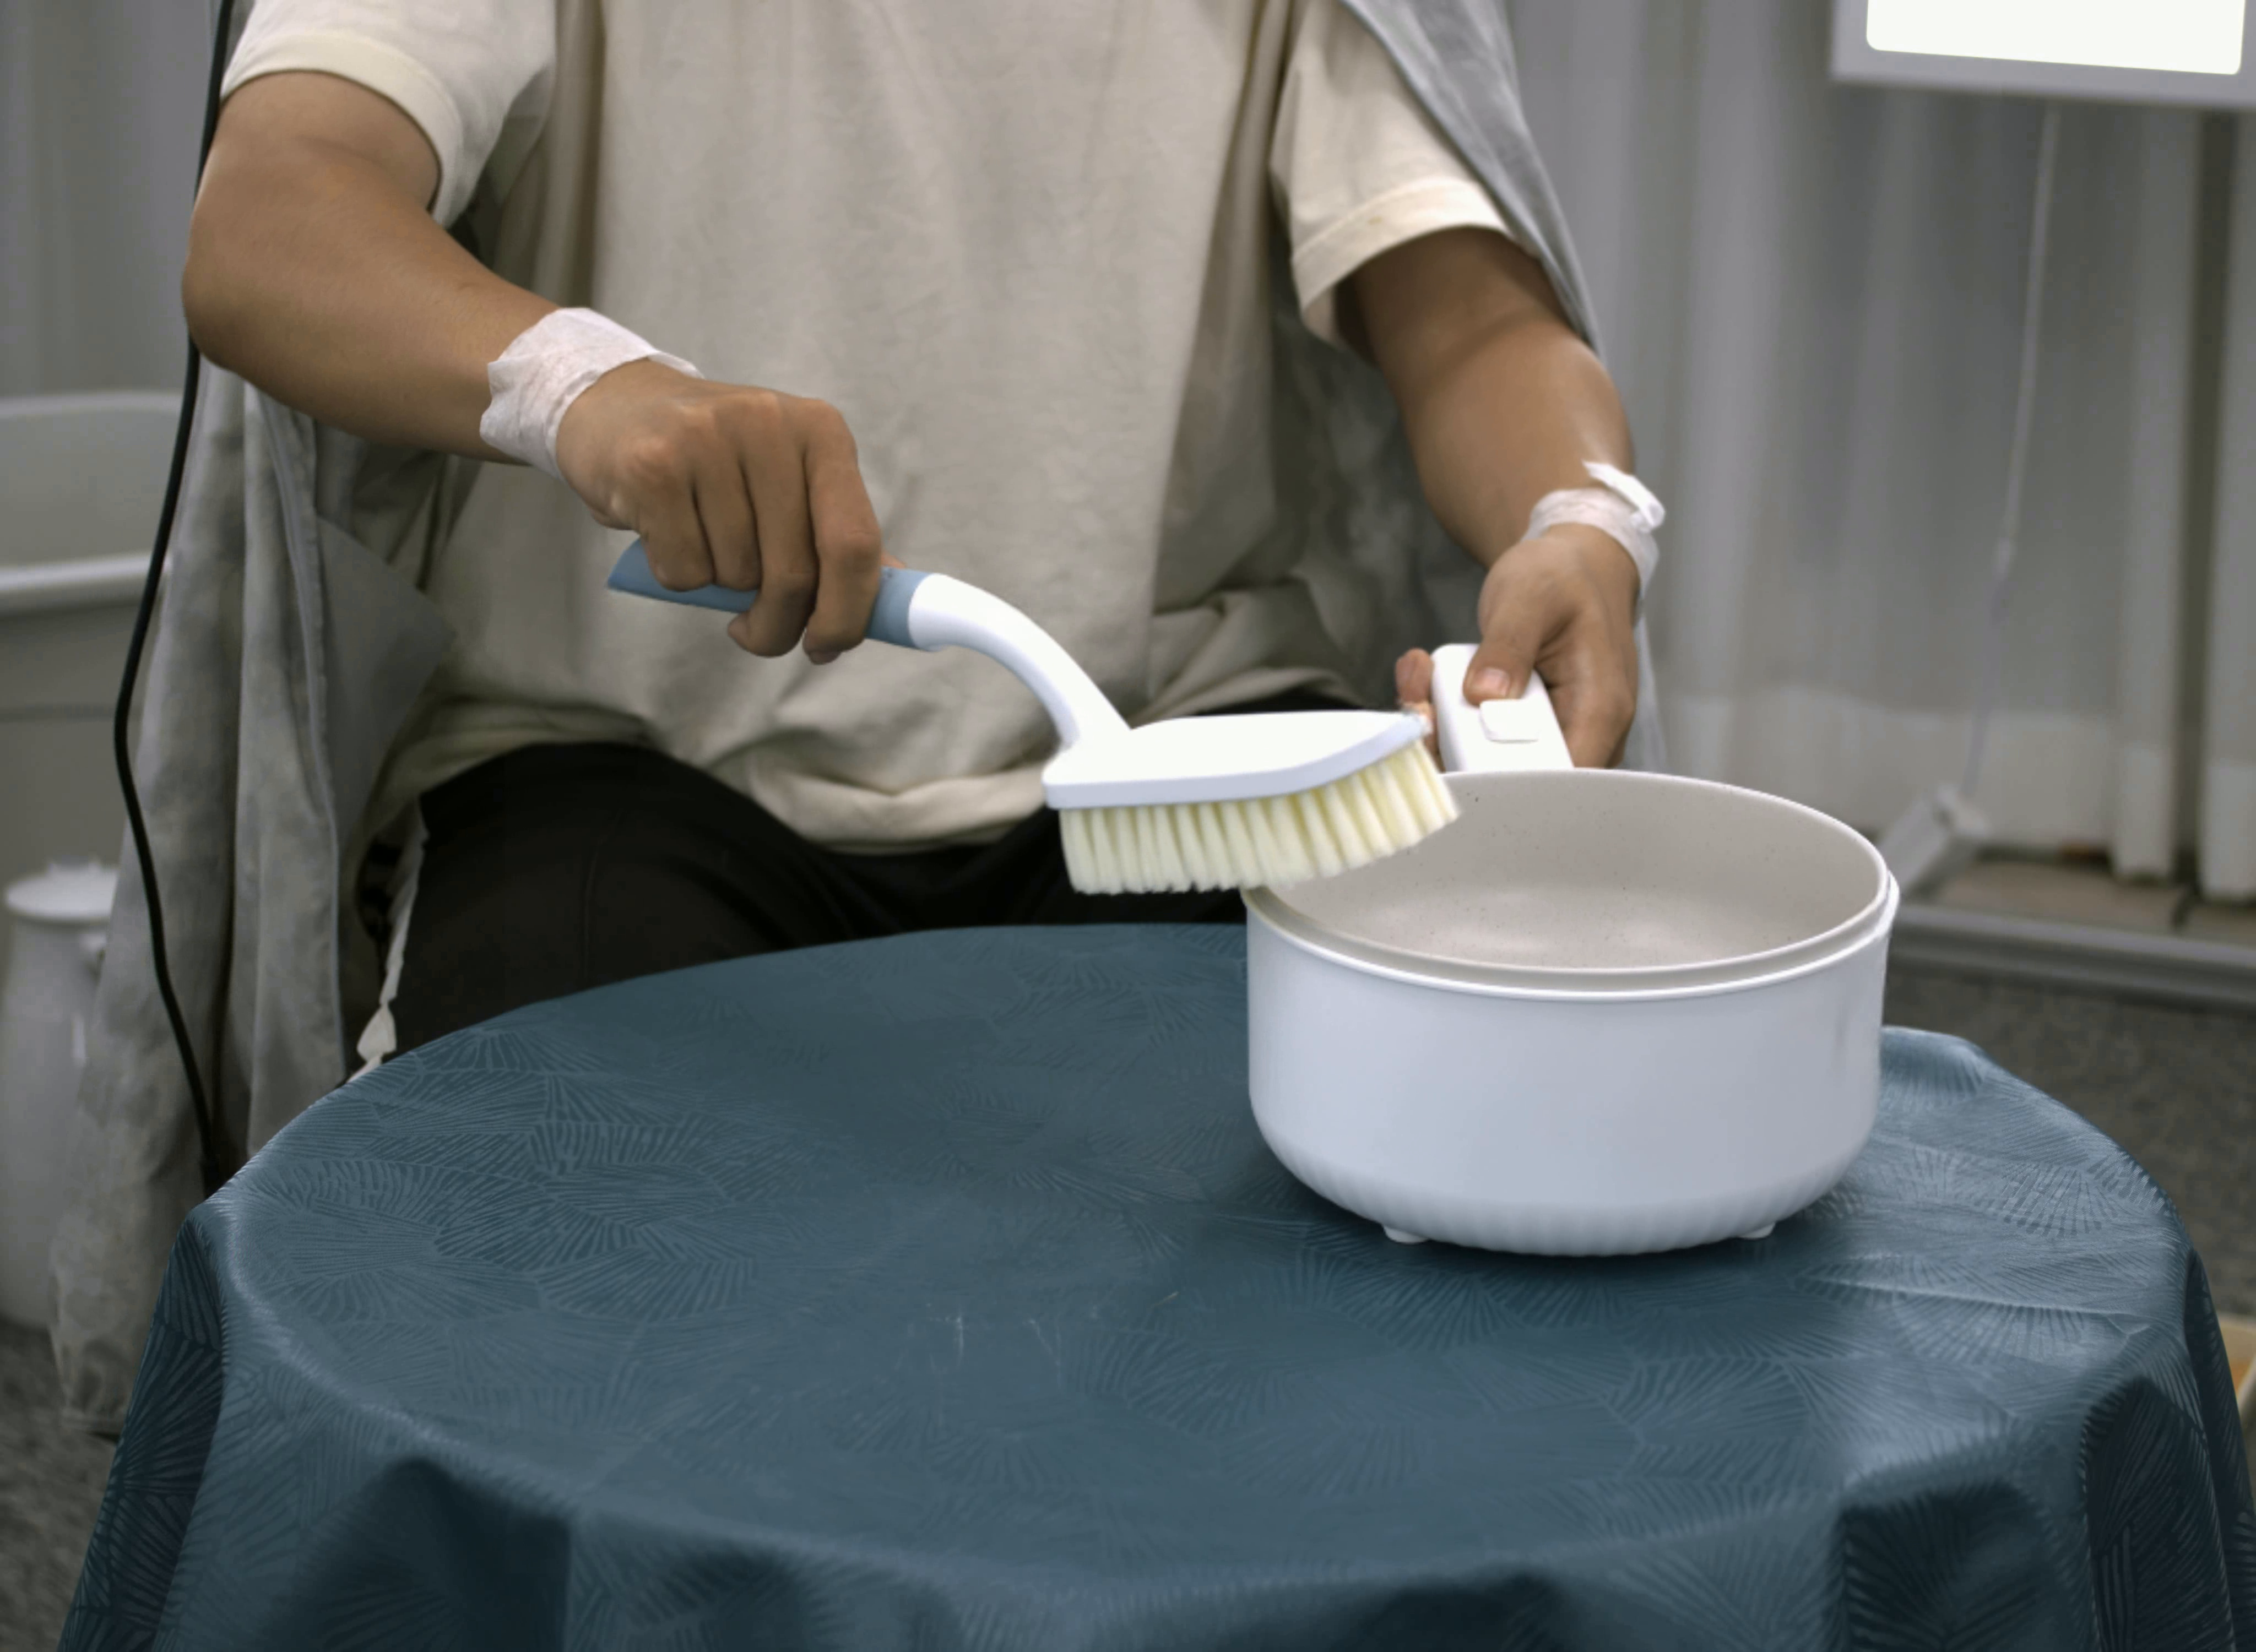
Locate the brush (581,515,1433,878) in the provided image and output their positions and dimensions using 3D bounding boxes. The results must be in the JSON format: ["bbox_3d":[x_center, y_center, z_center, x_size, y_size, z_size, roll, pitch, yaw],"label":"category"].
[{"bbox_3d":[-0.042,-0.028,1.638,0.321,0.084,0.084,12,-14,35],"label":"brush"}]

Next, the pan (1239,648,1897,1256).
[{"bbox_3d":[0.130,0.036,1.696,0.201,0.103,0.352,0,18,-3],"label":"pan"}]
